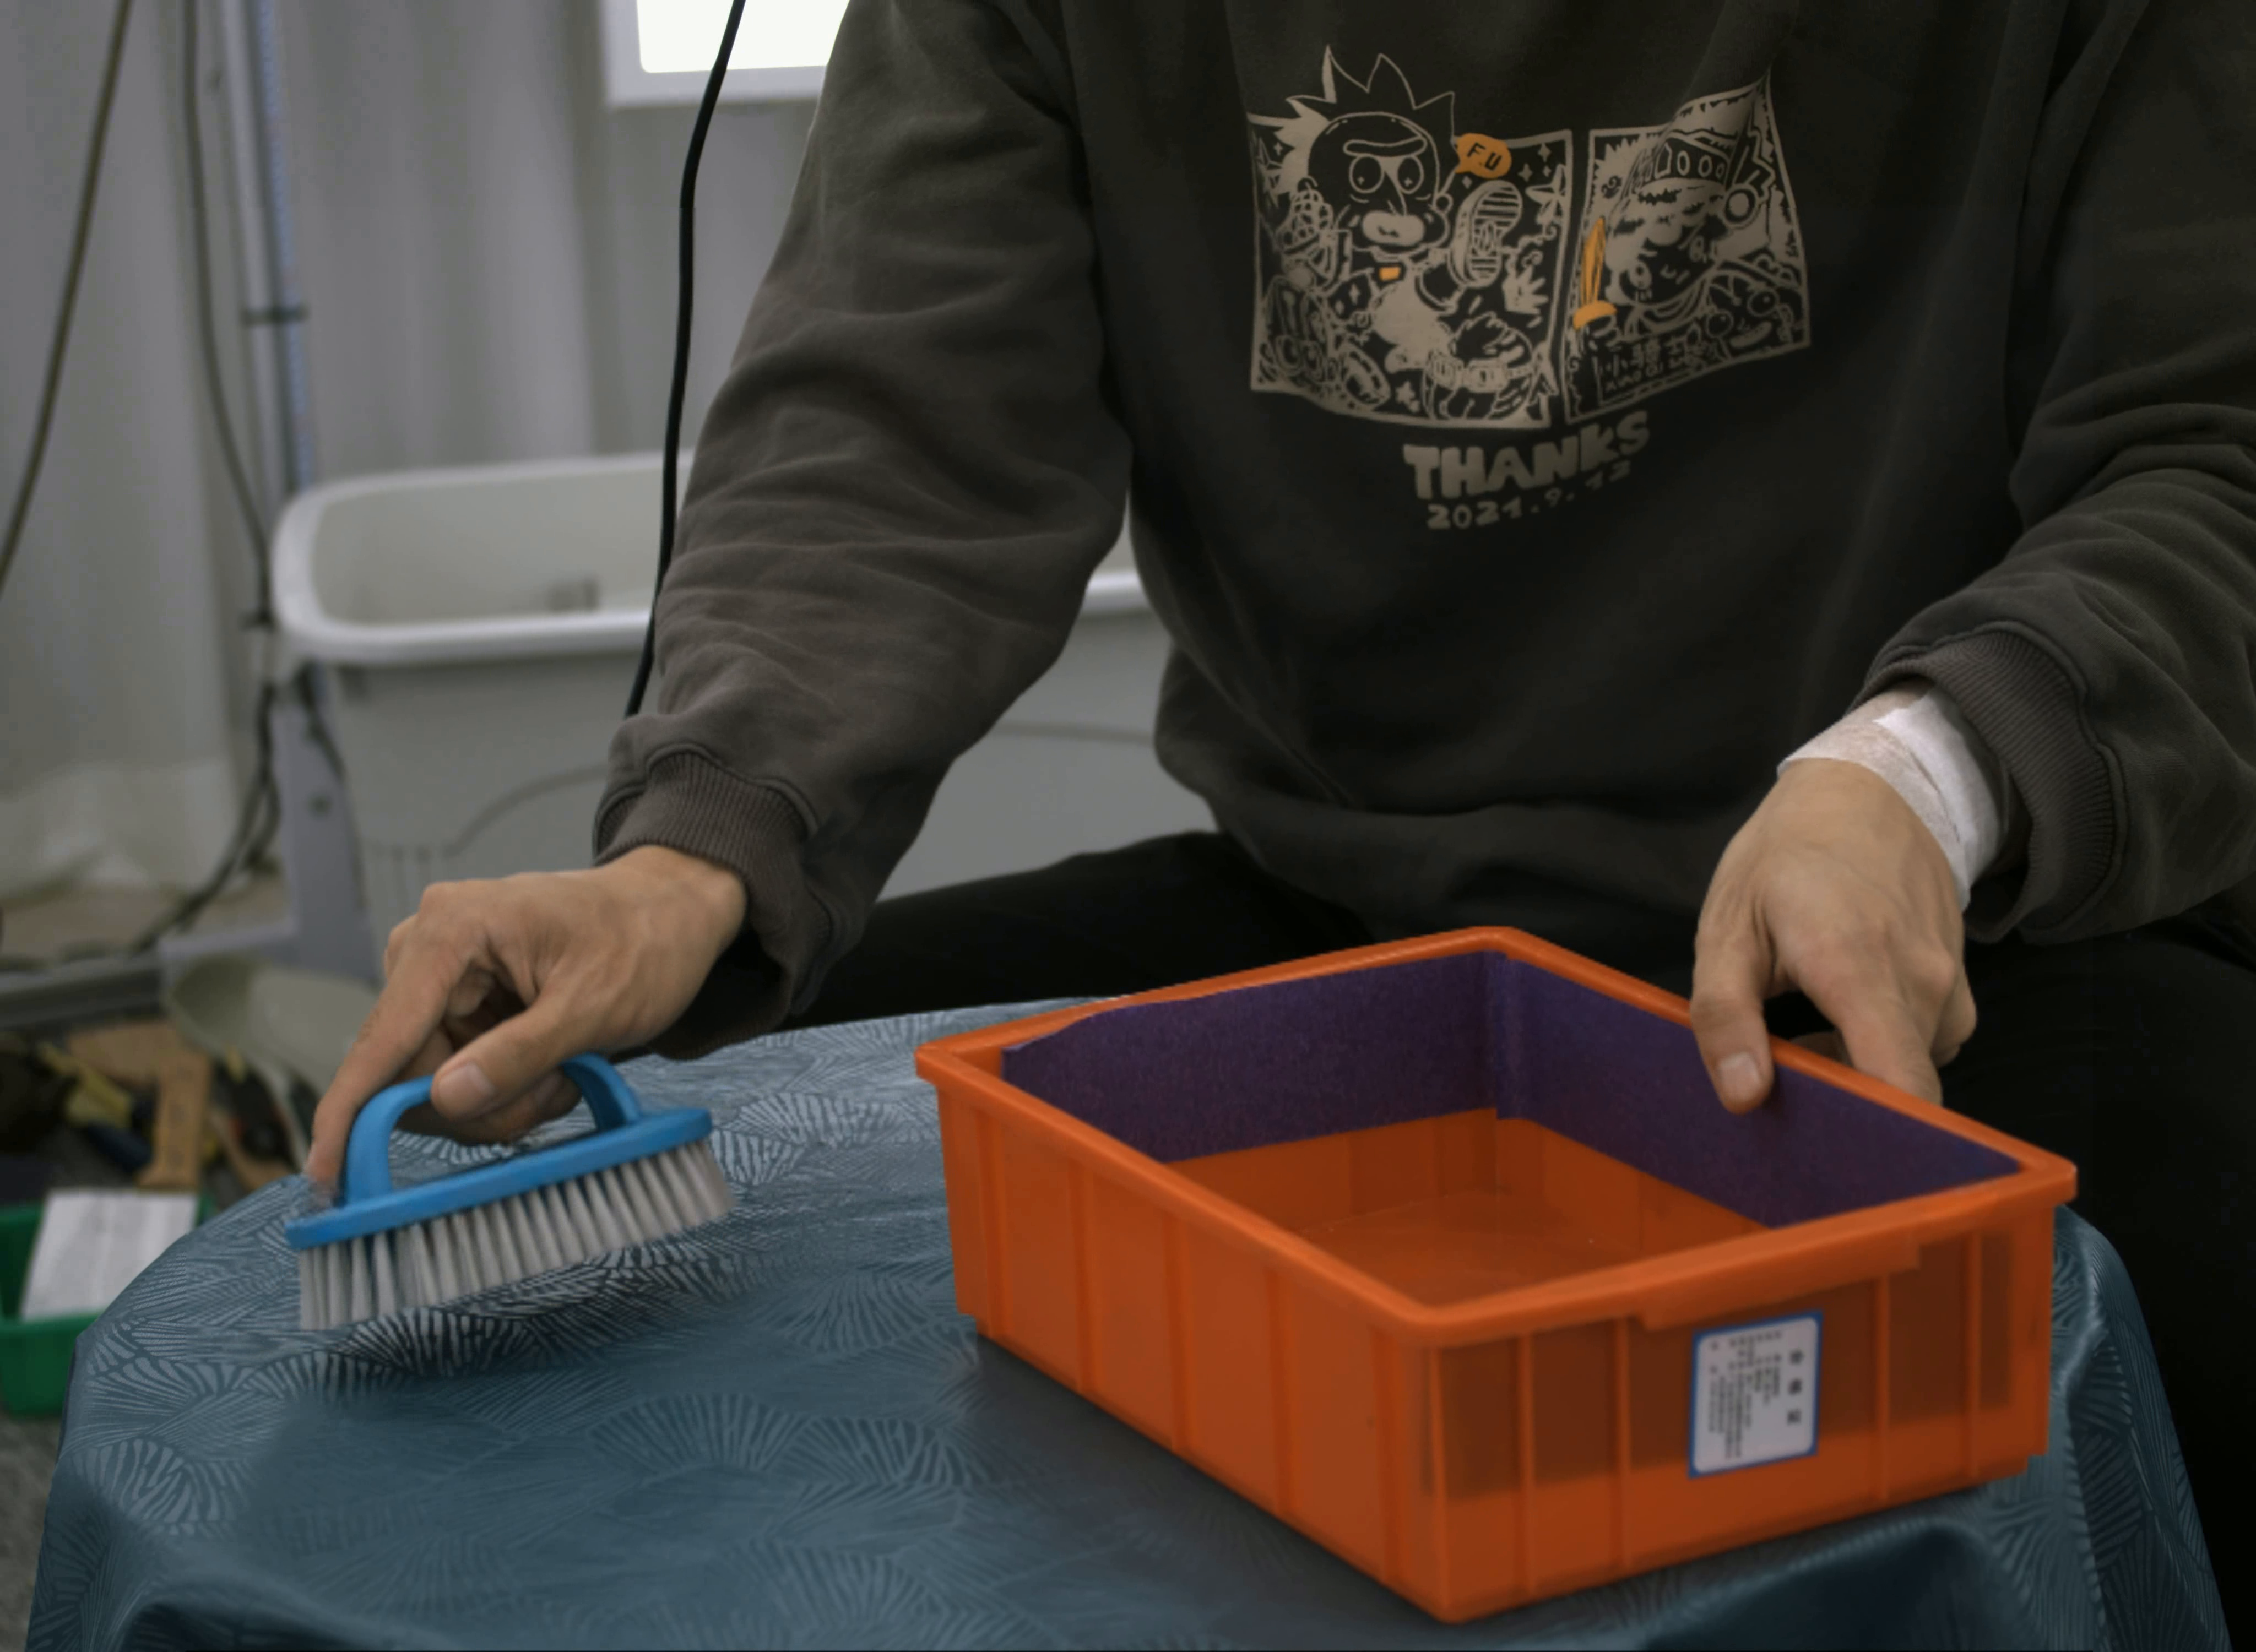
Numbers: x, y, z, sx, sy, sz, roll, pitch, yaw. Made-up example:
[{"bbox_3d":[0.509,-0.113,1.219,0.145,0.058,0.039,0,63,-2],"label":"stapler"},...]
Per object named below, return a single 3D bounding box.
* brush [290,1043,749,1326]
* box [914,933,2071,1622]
[{"bbox_3d":[-0.185,0.102,1.623,0.141,0.064,0.084,-13,-4,-31],"label":"brush"},{"bbox_3d":[0.095,0.119,1.523,0.205,0.096,0.306,-10,17,-26],"label":"box"}]
